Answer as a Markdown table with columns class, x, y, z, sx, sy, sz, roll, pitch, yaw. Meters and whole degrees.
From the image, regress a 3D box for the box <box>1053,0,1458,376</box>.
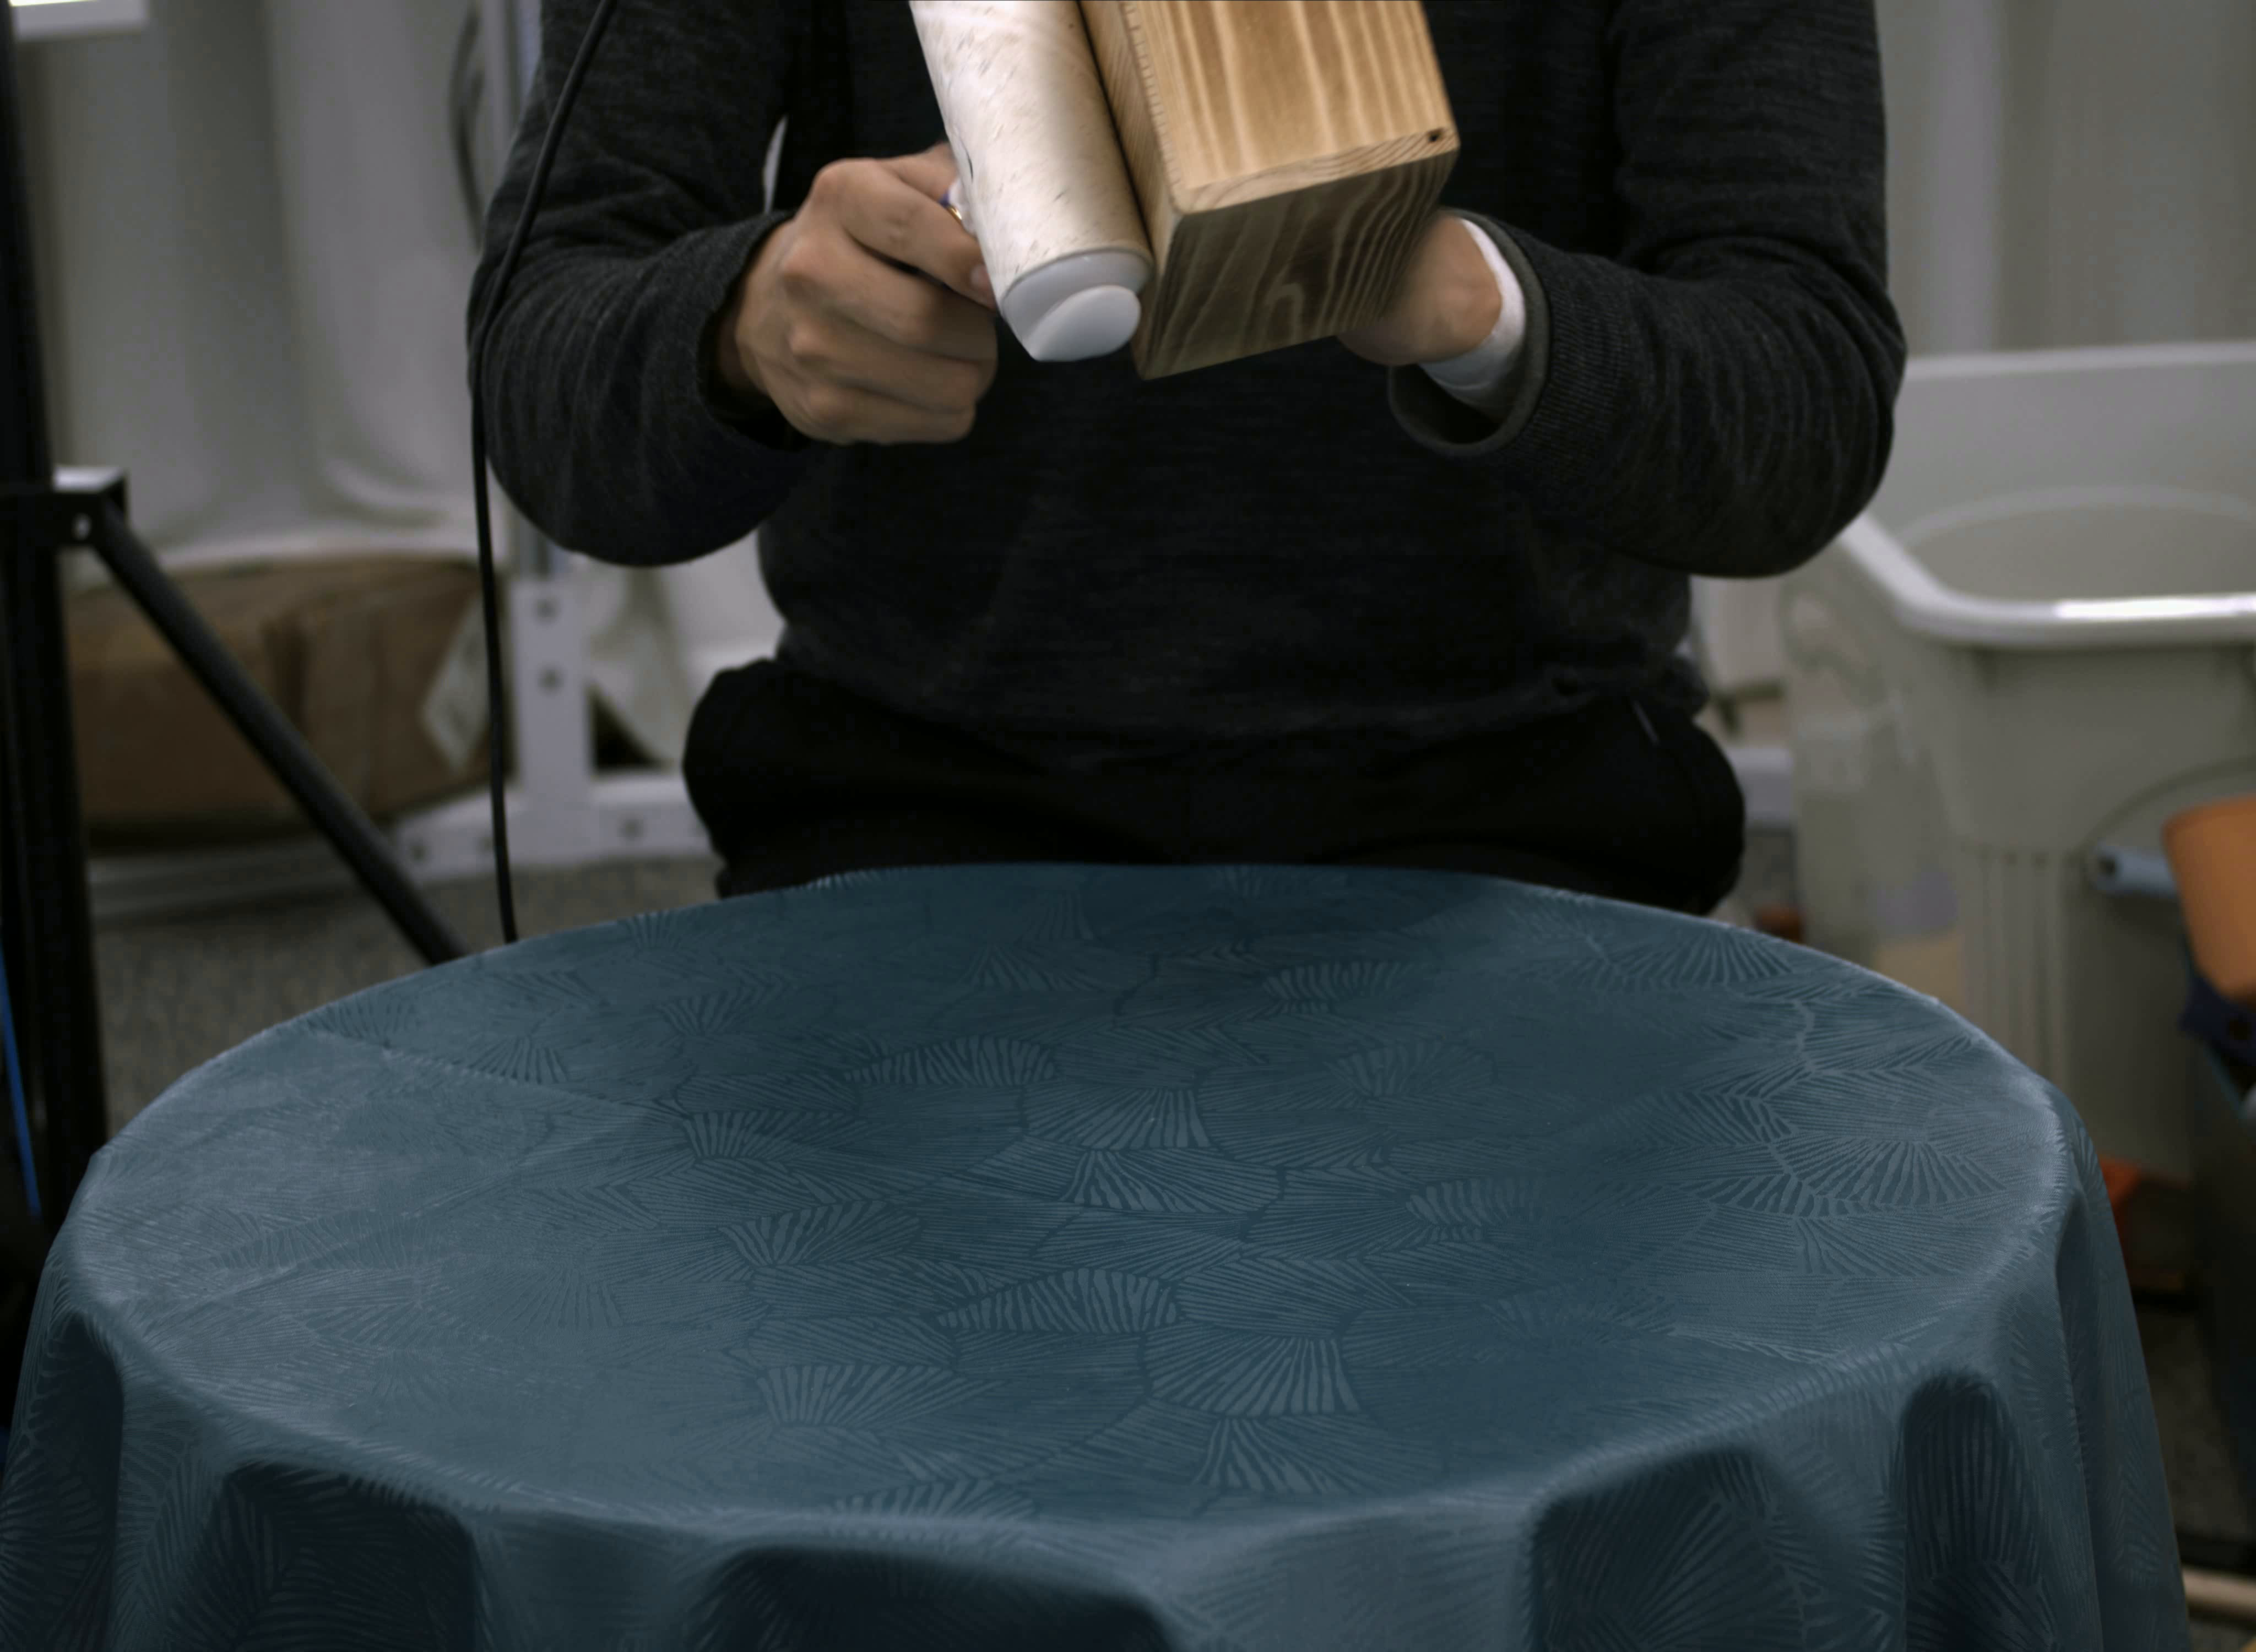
| class | x | y | z | sx | sy | sz | roll | pitch | yaw |
| --- | --- | --- | --- | --- | --- | --- | --- | --- | --- |
| box | 0.032 | -0.209 | 1.523 | 0.079 | 0.108 | 0.211 | -14 | -6 | -4 |

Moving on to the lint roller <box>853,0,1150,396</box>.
| class | x | y | z | sx | sy | sz | roll | pitch | yaw |
| --- | --- | --- | --- | --- | --- | --- | --- | --- | --- |
| lint roller | -0.057 | -0.175 | 1.559 | 0.049 | 0.134 | 0.183 | -5 | -19 | -30 |
